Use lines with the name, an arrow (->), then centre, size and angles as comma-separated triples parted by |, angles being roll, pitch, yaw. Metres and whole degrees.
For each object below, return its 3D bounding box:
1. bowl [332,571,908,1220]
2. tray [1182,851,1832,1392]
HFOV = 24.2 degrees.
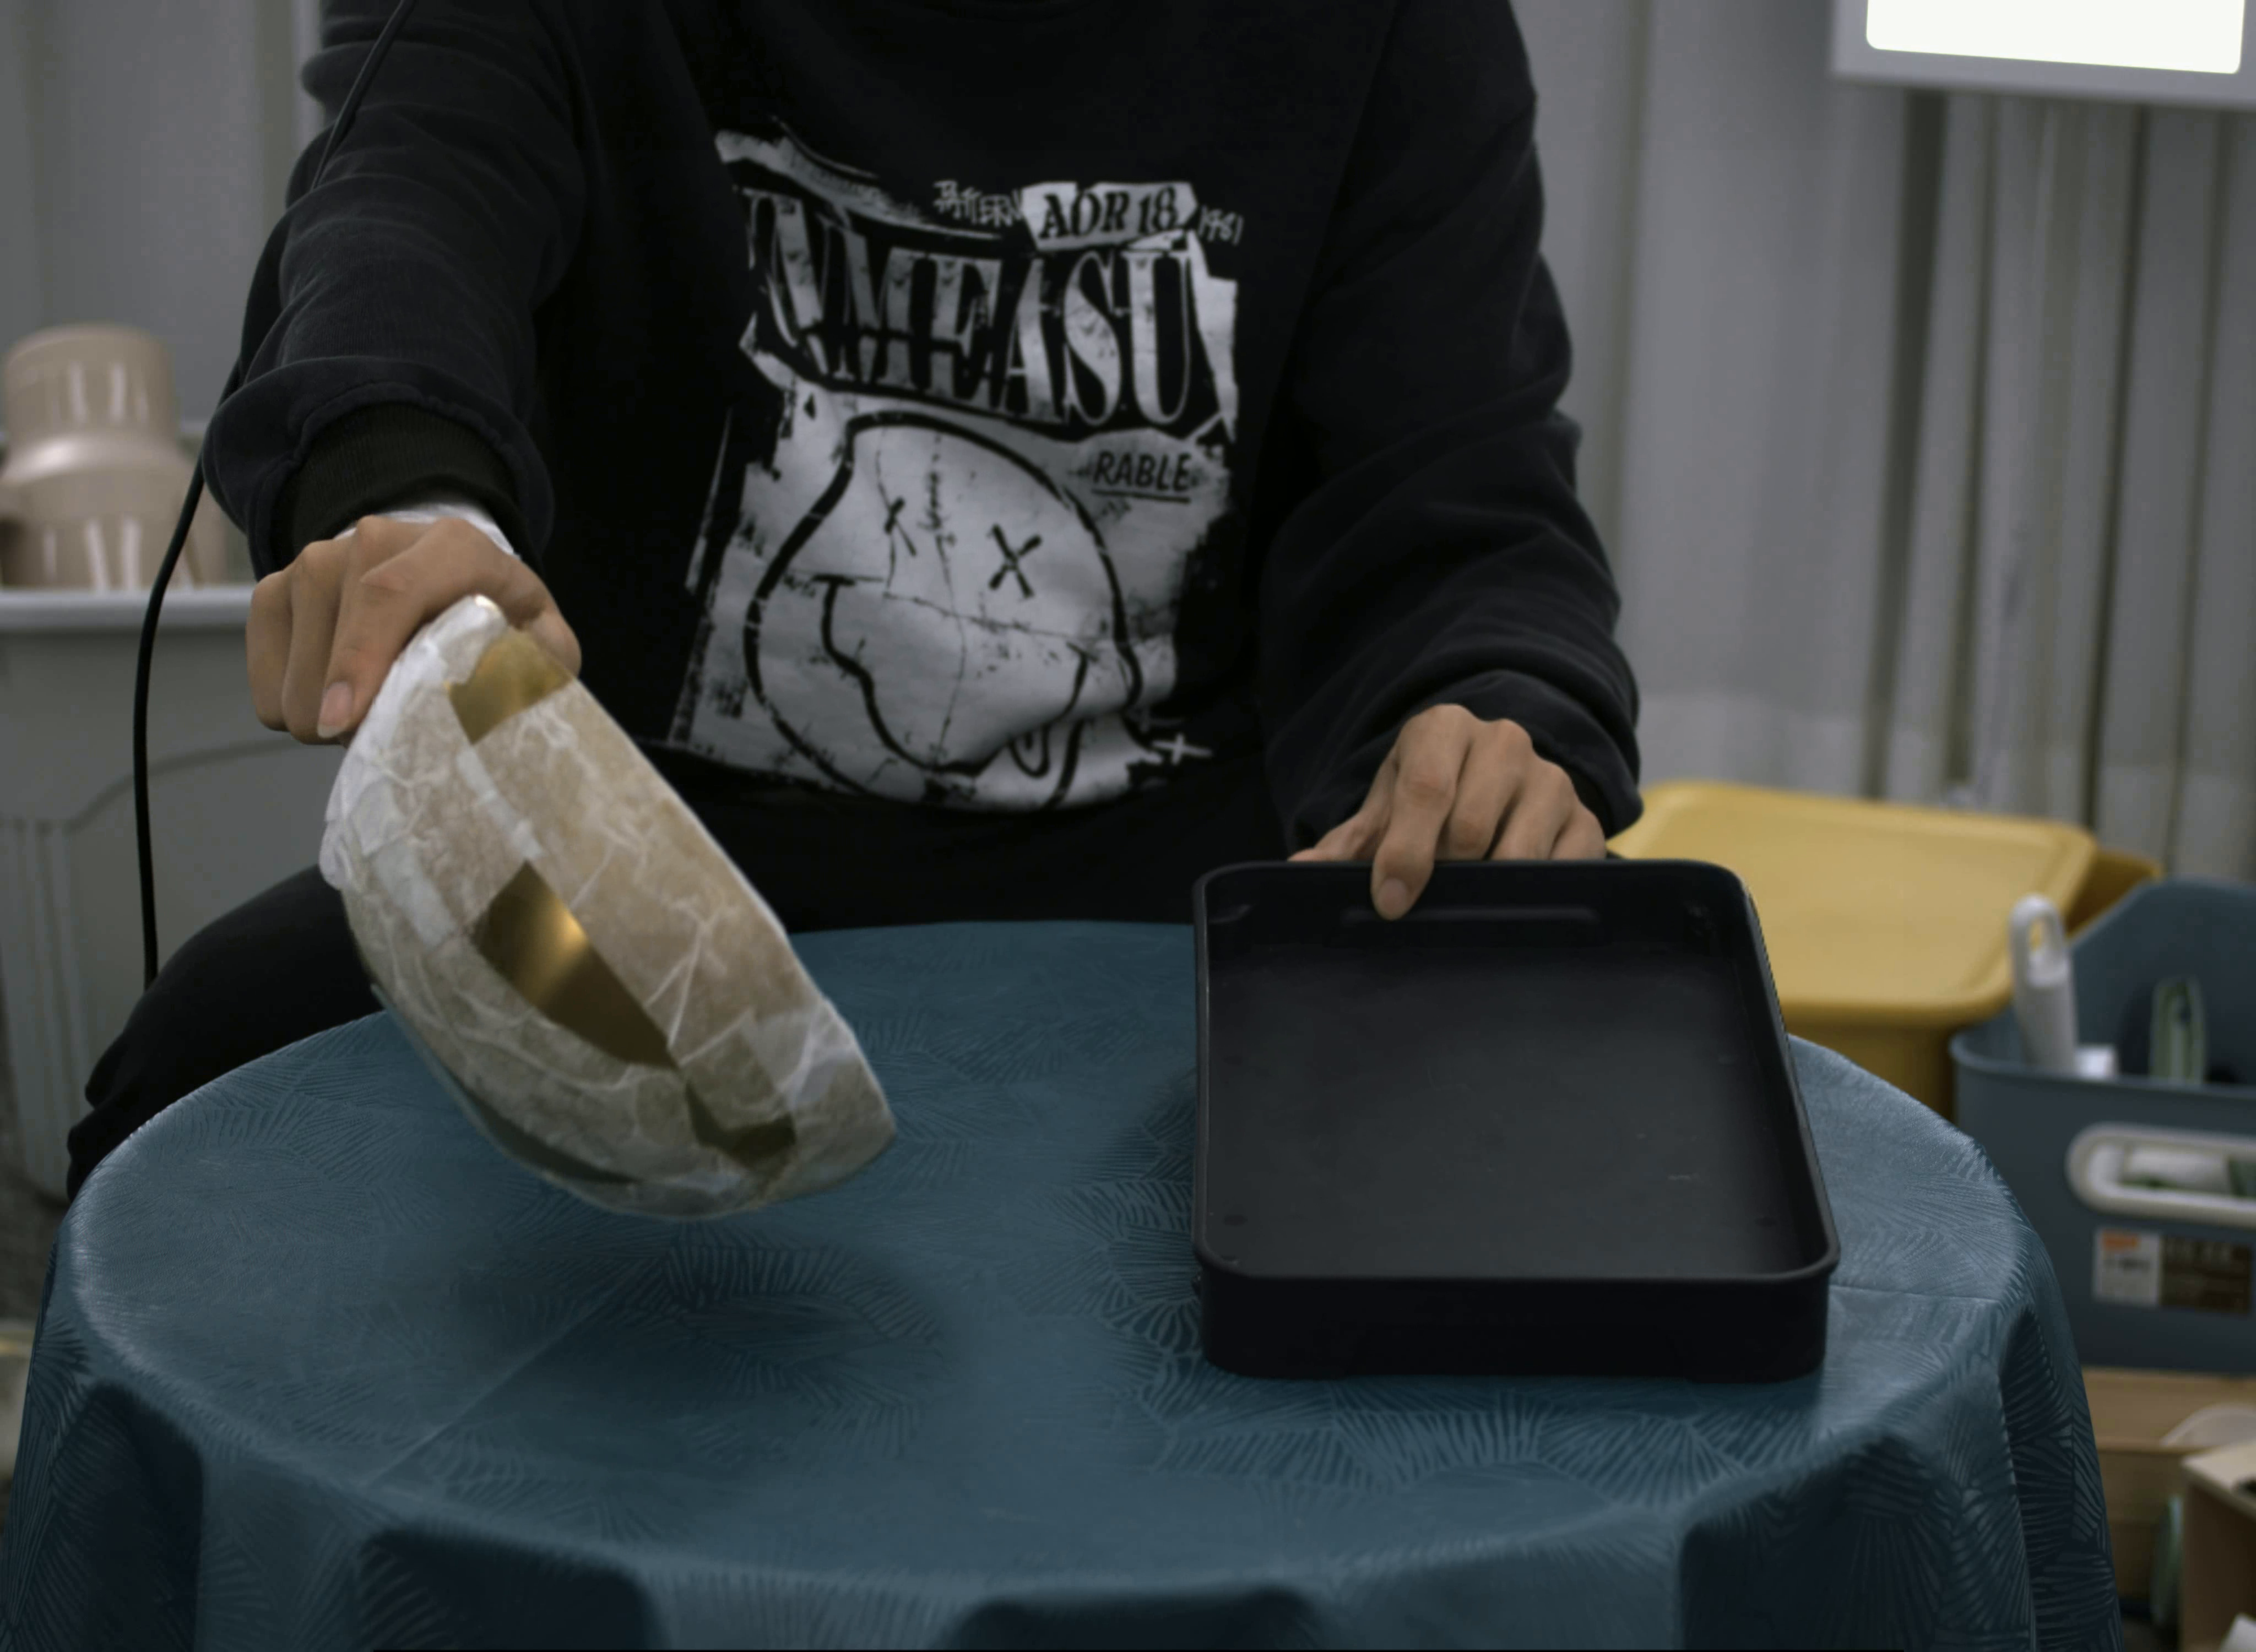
bowl -> -0.160, 0.039, 1.491 | 0.094, 0.217, 0.212 | -39, 28, -10
tray -> 0.110, 0.084, 1.613 | 0.183, 0.037, 0.316 | 1, 22, 1
